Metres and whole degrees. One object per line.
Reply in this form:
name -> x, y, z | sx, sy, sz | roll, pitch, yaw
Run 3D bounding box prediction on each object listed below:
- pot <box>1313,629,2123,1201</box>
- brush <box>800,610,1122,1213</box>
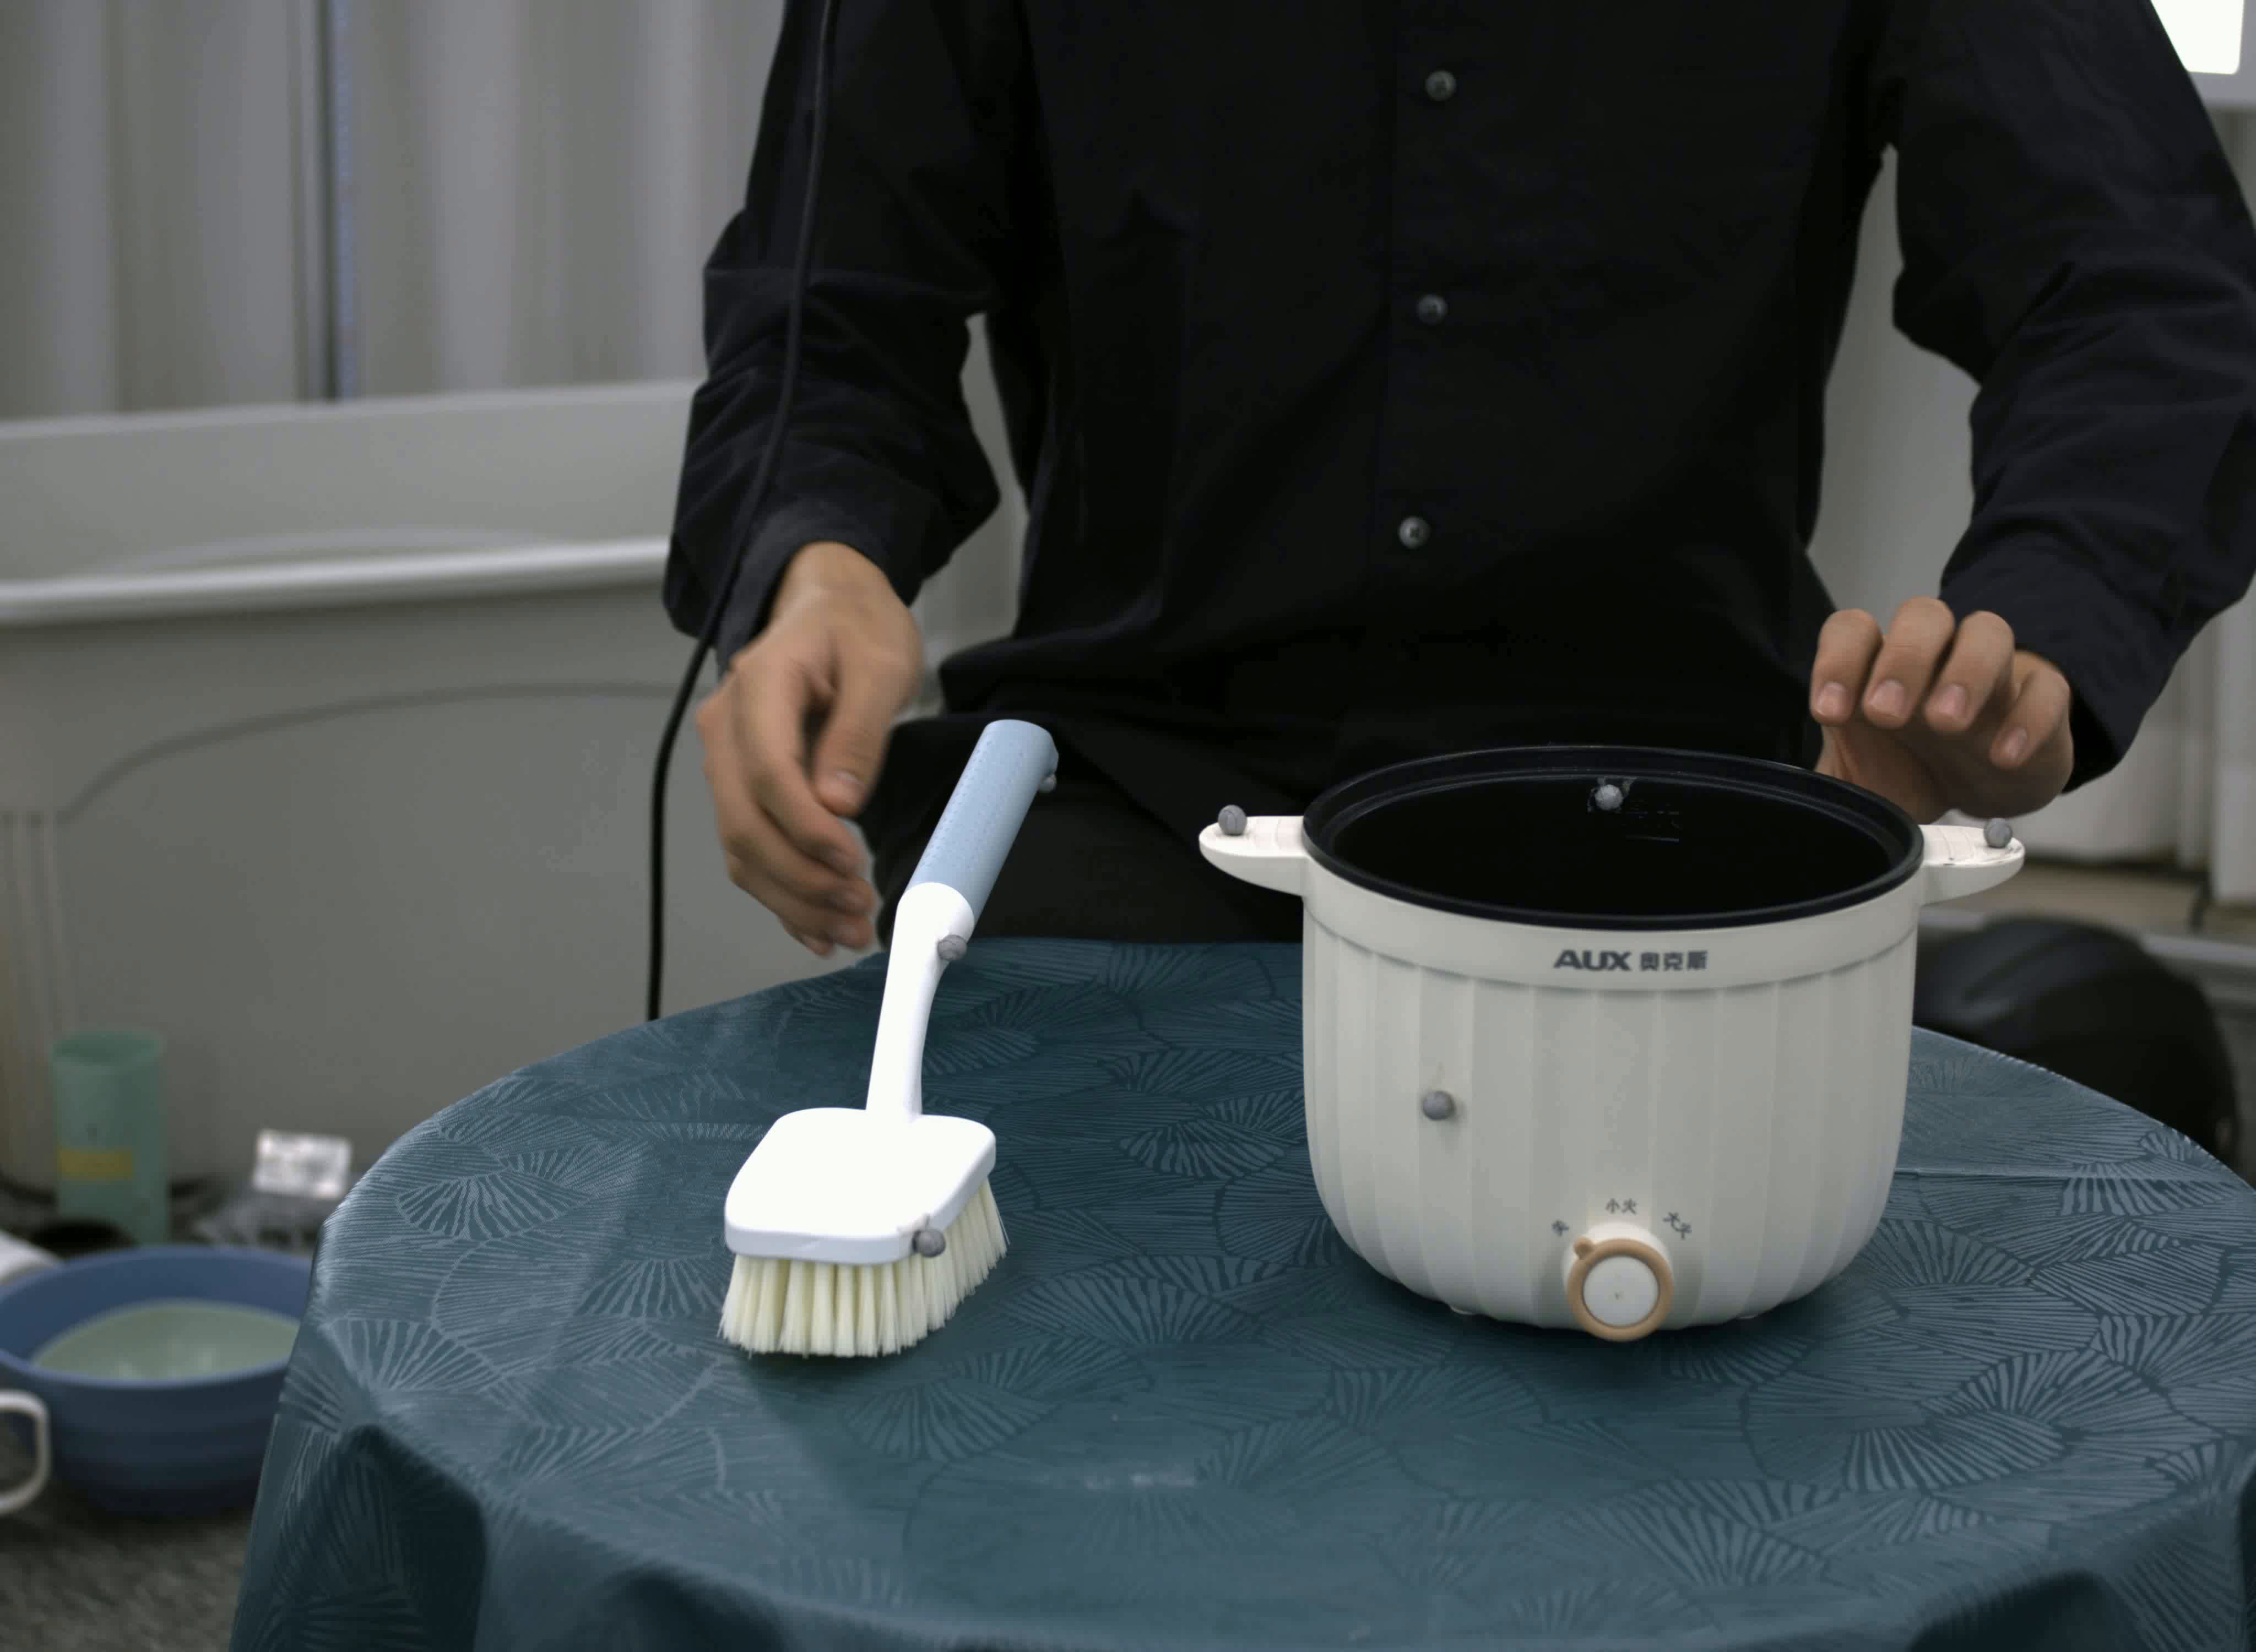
pot -> 0.175, 0.028, 1.568 | 0.239, 0.144, 0.189 | -1, 14, 0
brush -> -0.038, 0.040, 1.641 | 0.083, 0.085, 0.324 | 35, 29, -7
